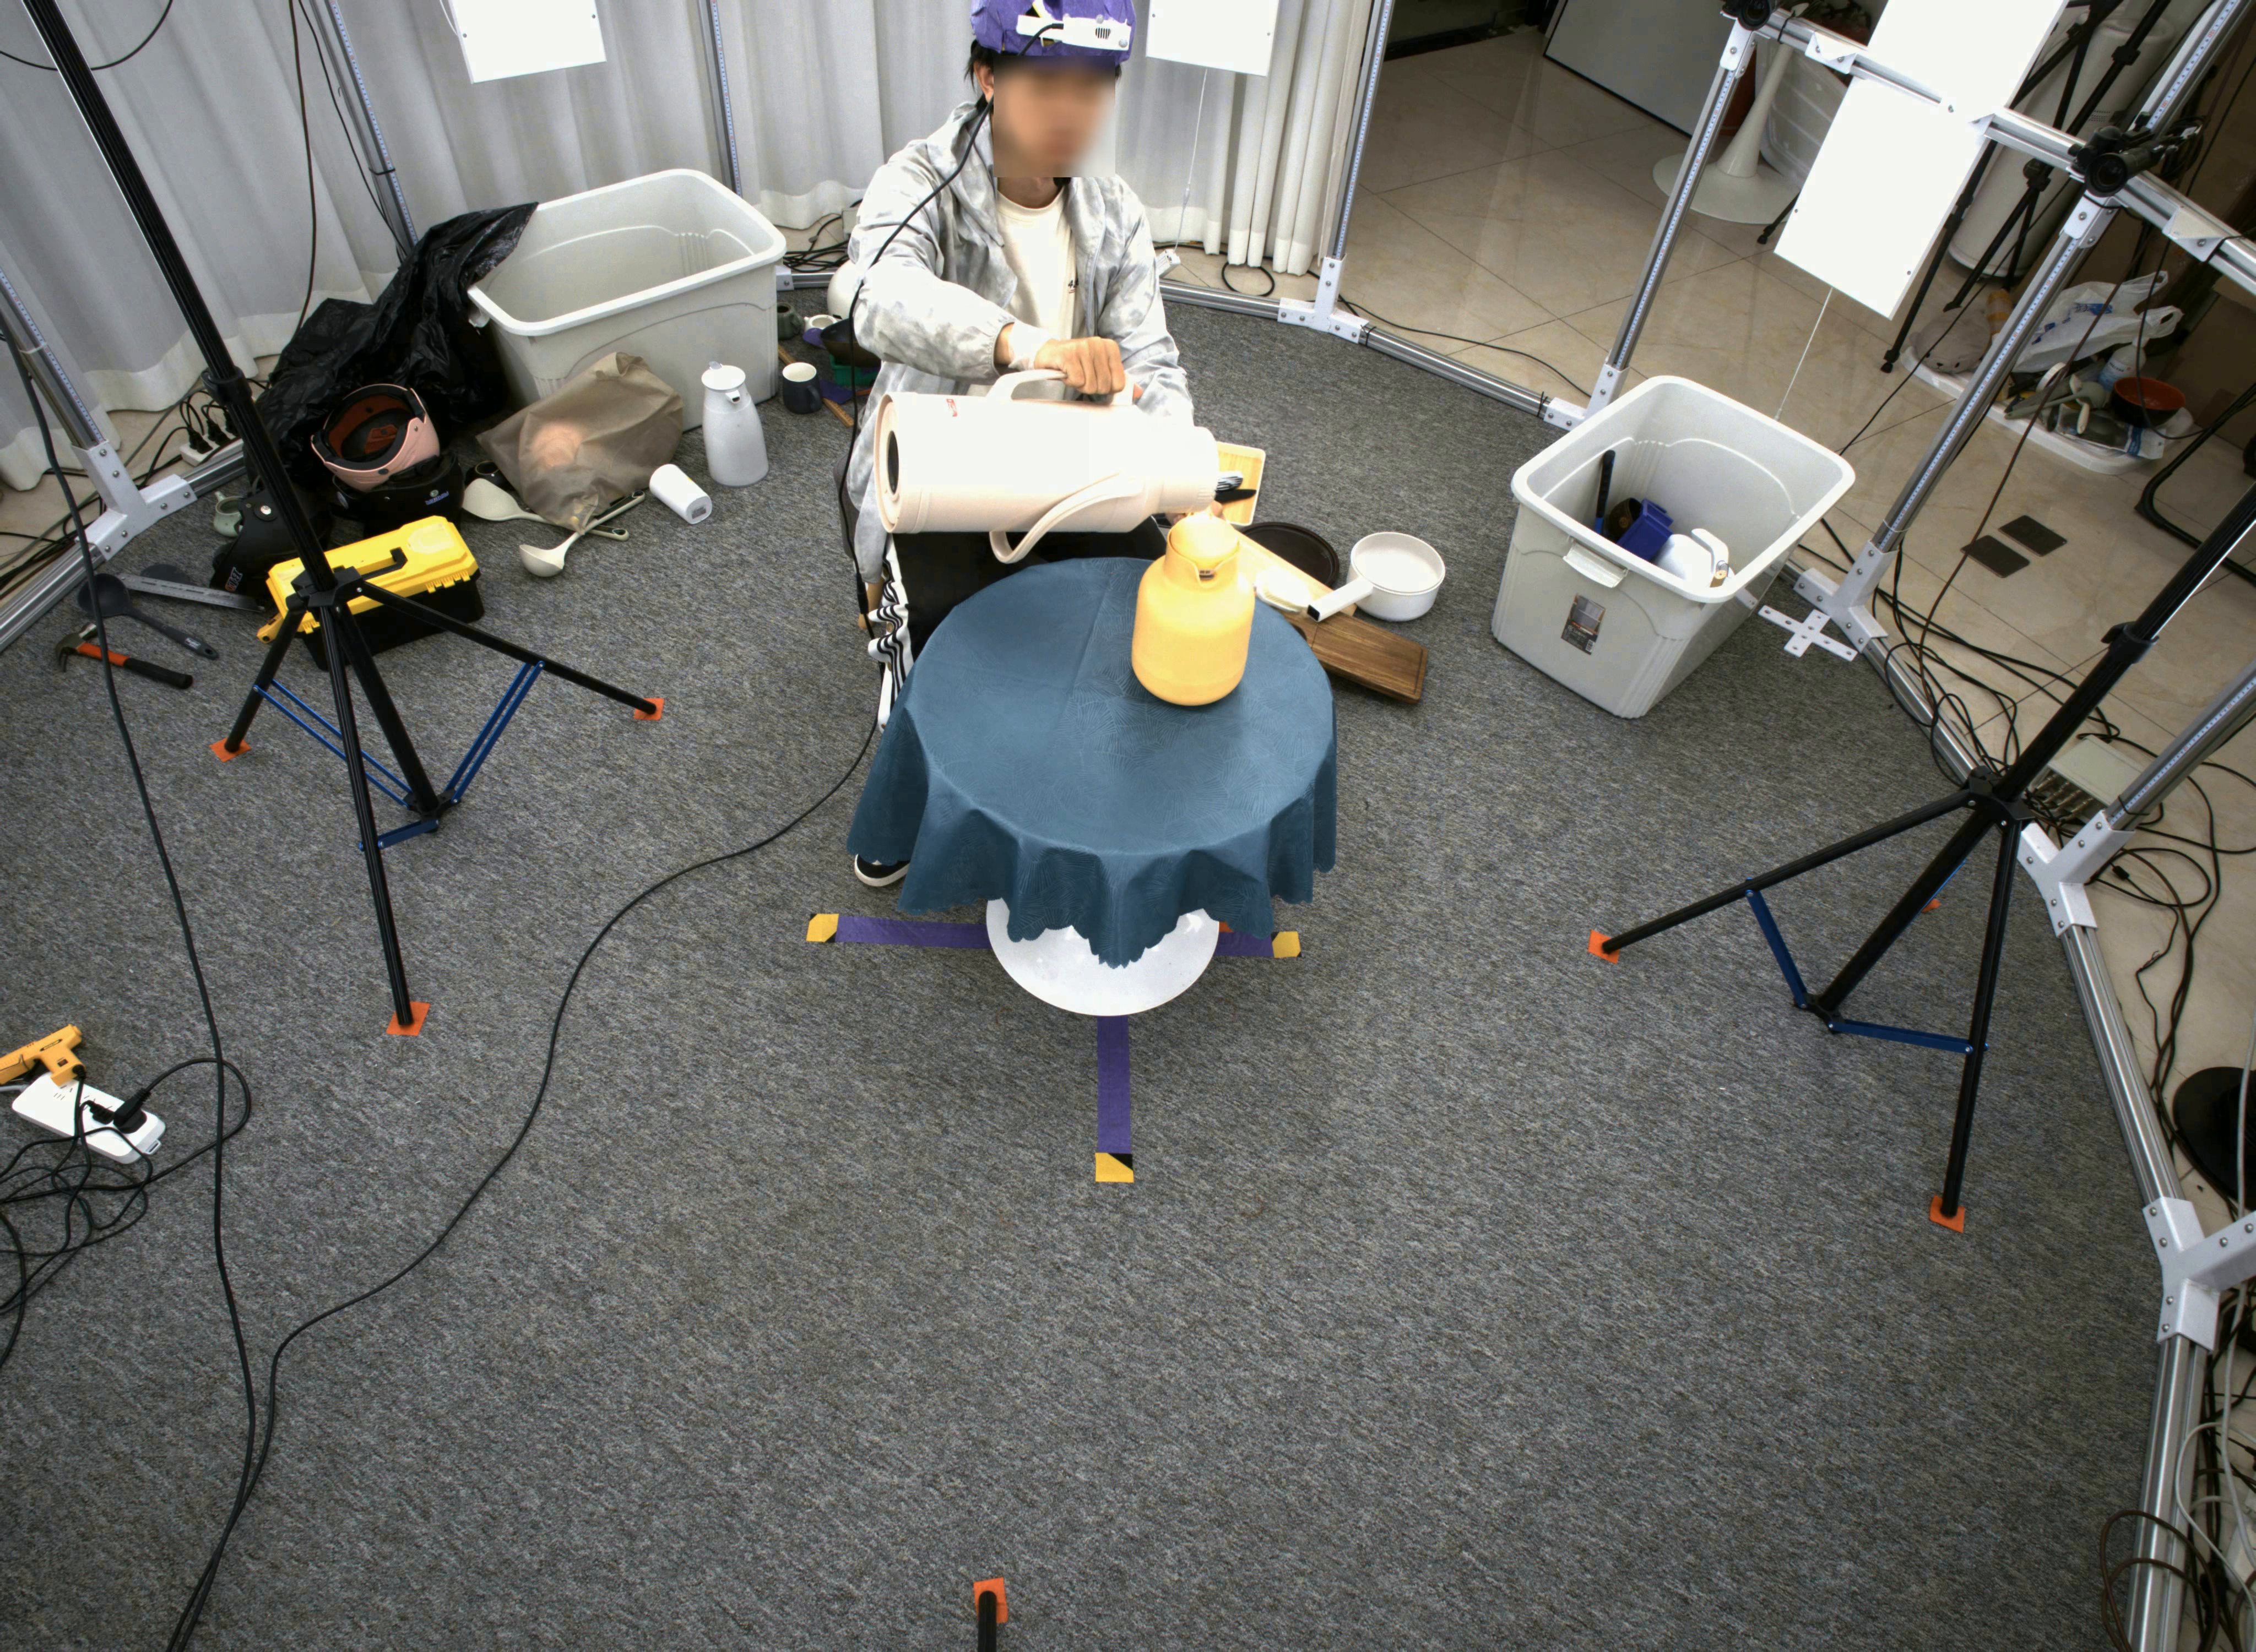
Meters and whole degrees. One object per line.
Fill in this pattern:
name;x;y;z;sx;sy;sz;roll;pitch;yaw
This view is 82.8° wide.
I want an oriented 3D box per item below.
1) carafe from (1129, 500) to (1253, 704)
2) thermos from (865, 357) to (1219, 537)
carafe;0.092;-0.316;1.774;0.163;0.254;0.207;4;50;-4
thermos;-0.095;-0.447;1.534;0.405;0.203;0.179;-3;26;-19
